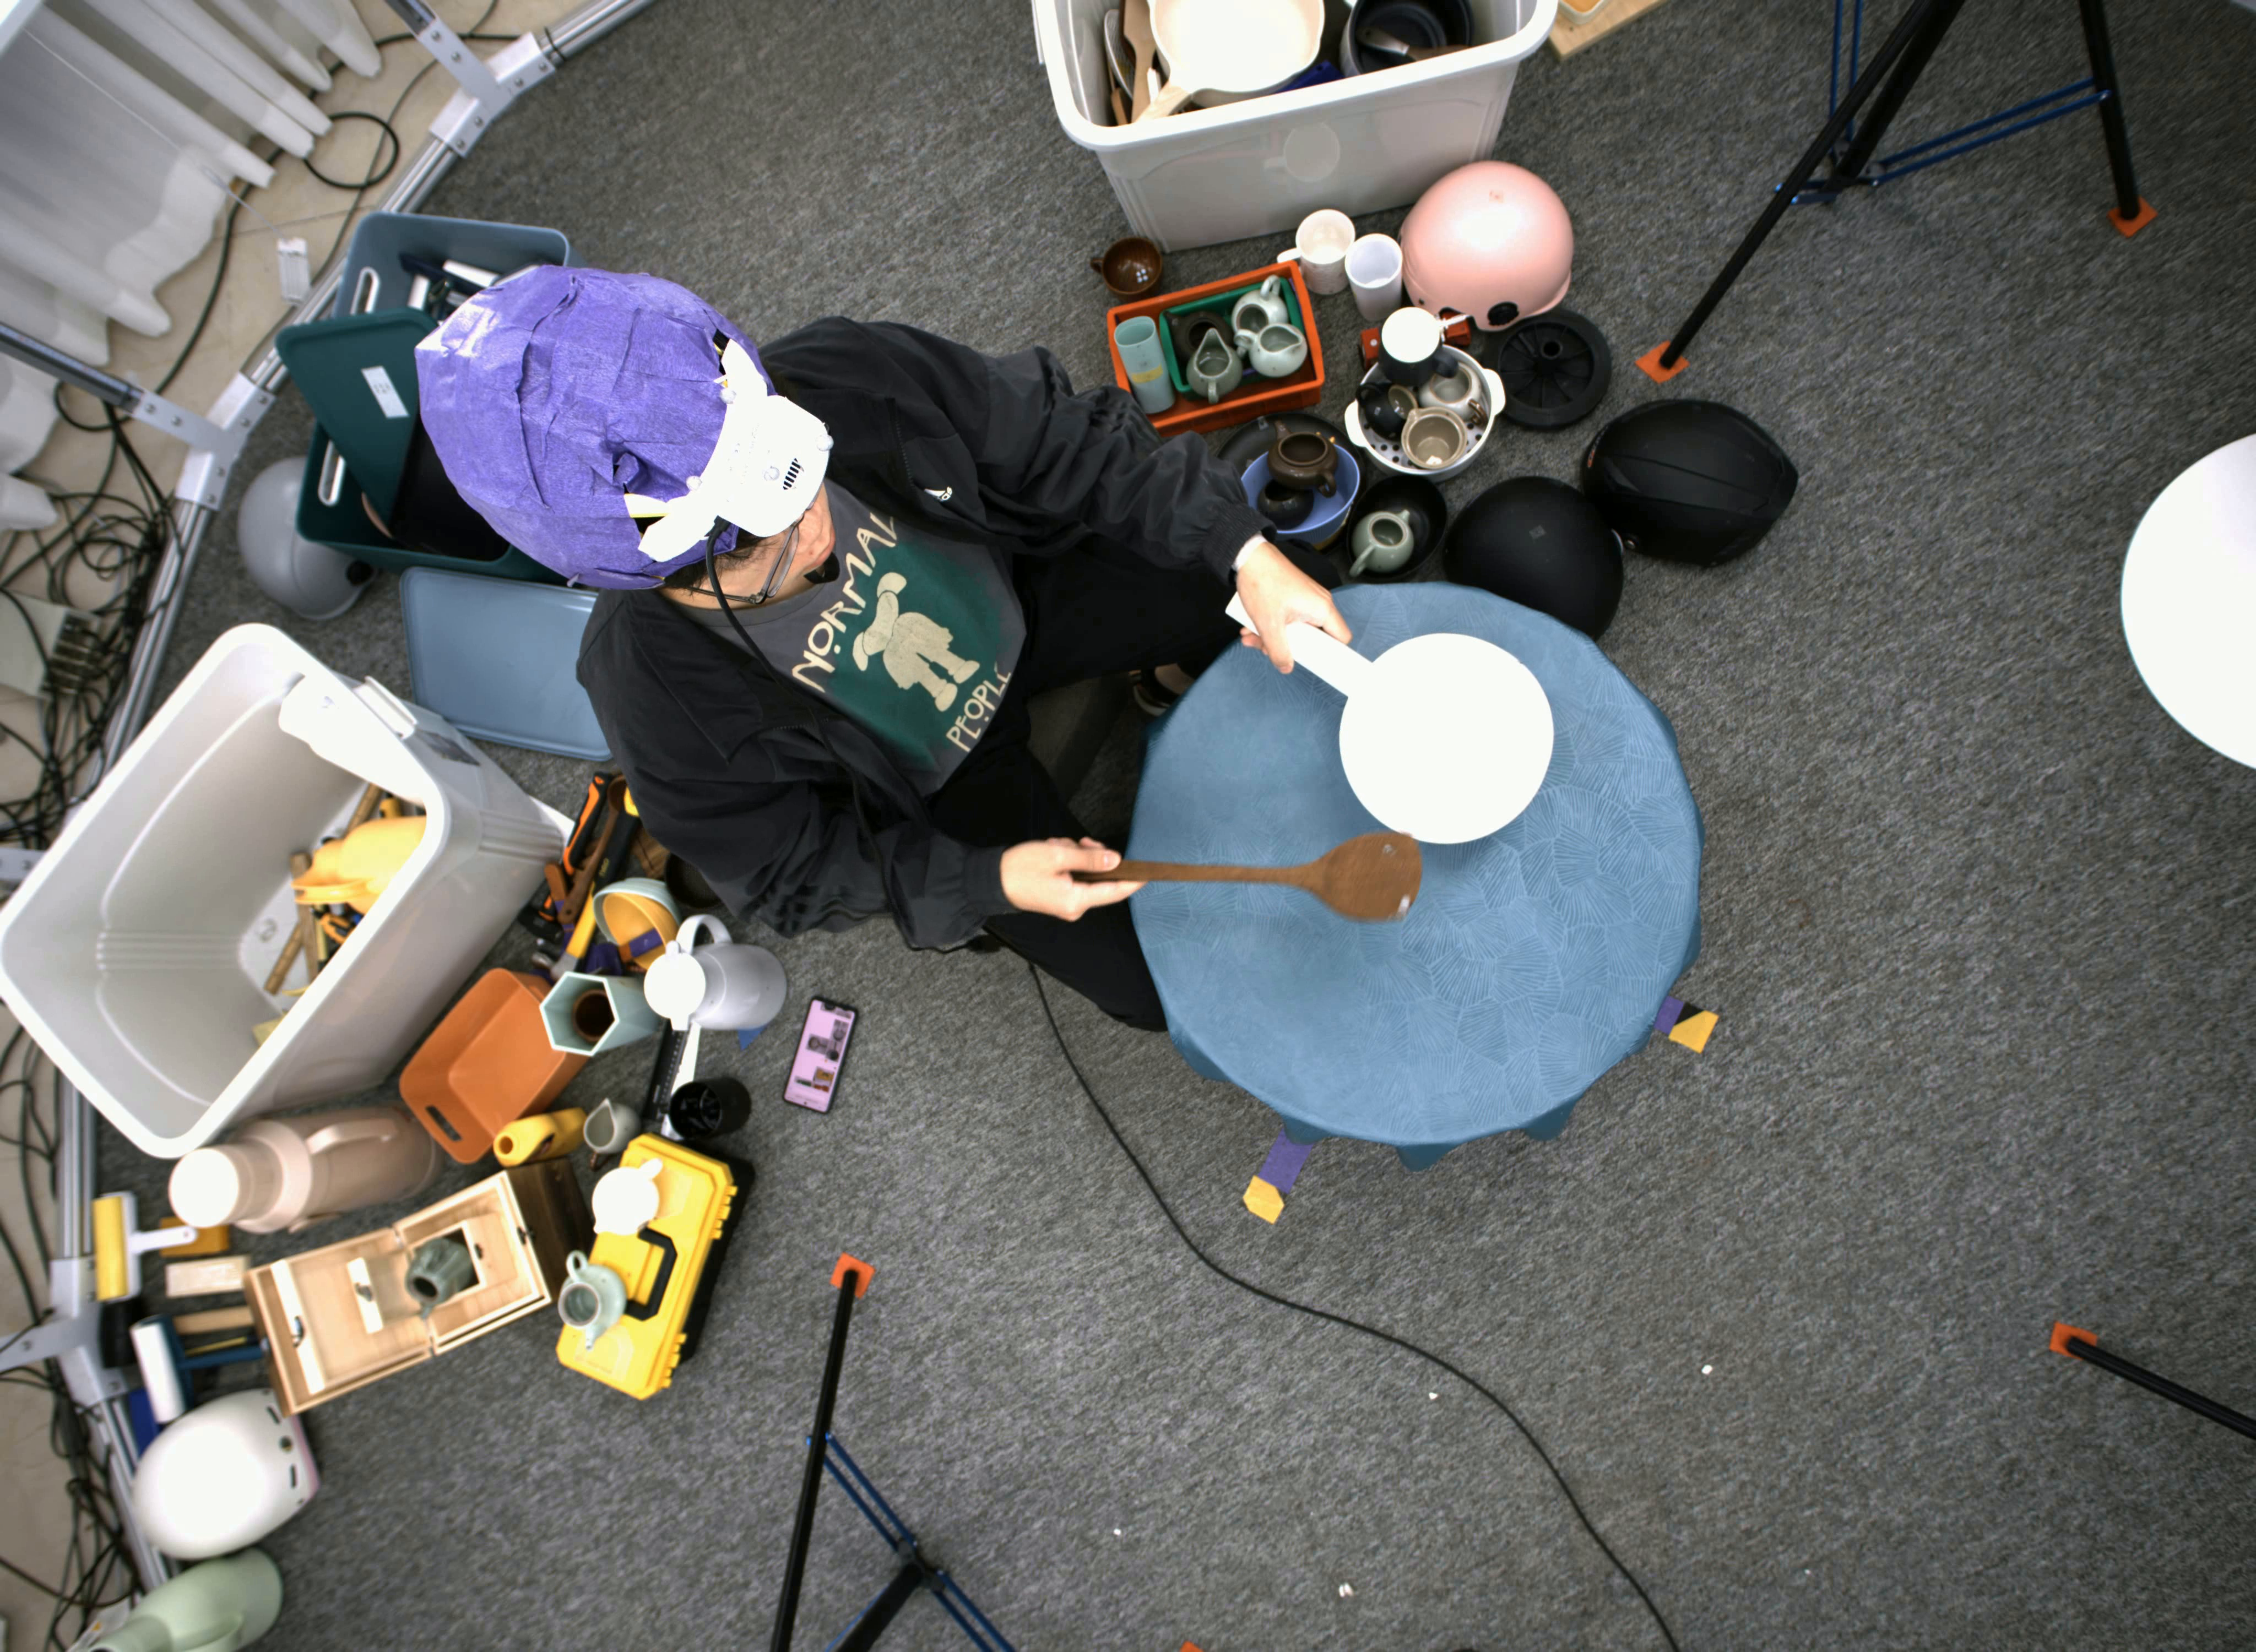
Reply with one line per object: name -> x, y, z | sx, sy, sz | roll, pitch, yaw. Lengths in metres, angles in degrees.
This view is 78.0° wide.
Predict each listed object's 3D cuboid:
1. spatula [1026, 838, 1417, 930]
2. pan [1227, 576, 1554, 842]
spatula -> 0.082, 0.050, 1.332 | 0.388, 0.016, 0.094 | 1, 63, 17
pan -> 0.260, -0.136, 1.373 | 0.353, 0.101, 0.205 | 37, 112, 14
